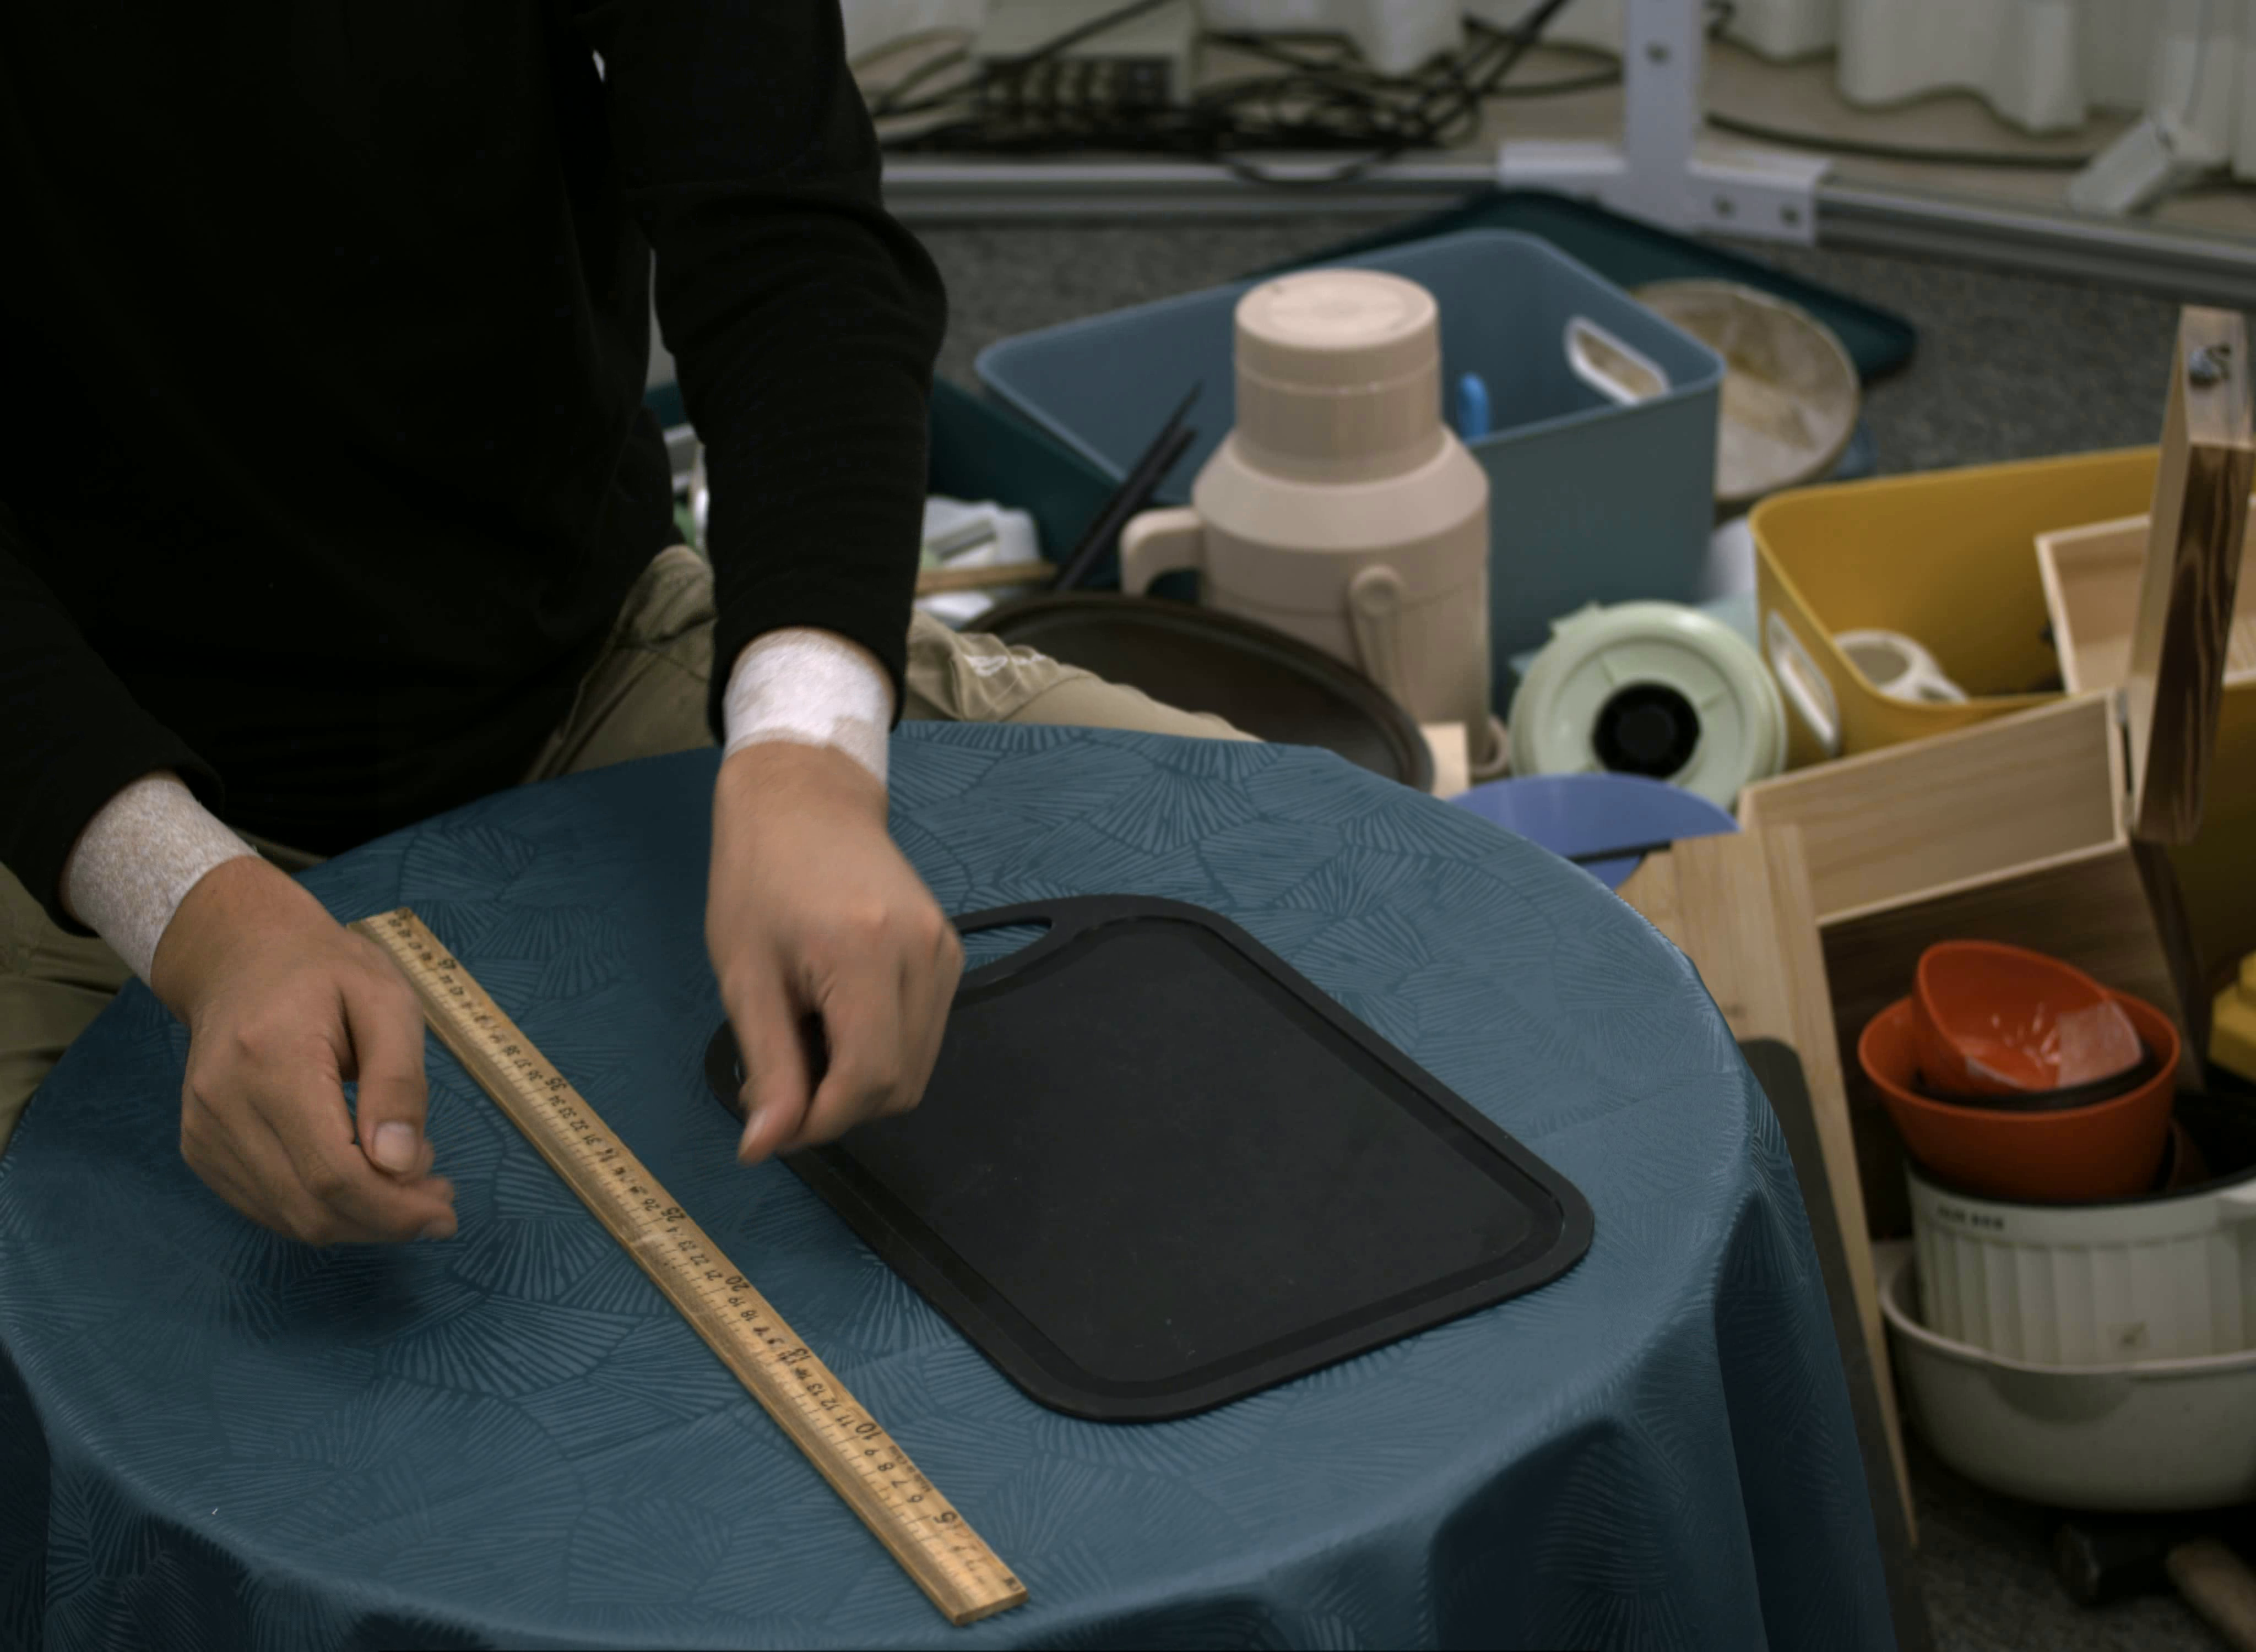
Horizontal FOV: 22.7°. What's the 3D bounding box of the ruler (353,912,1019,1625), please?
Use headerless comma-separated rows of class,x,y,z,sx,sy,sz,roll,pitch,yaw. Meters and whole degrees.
ruler,-0.156,0.133,1.849,0.027,0.006,0.503,-14,29,-24

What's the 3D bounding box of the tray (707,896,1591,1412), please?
tray,-0.003,0.101,1.894,0.212,0.009,0.327,-17,30,-25
